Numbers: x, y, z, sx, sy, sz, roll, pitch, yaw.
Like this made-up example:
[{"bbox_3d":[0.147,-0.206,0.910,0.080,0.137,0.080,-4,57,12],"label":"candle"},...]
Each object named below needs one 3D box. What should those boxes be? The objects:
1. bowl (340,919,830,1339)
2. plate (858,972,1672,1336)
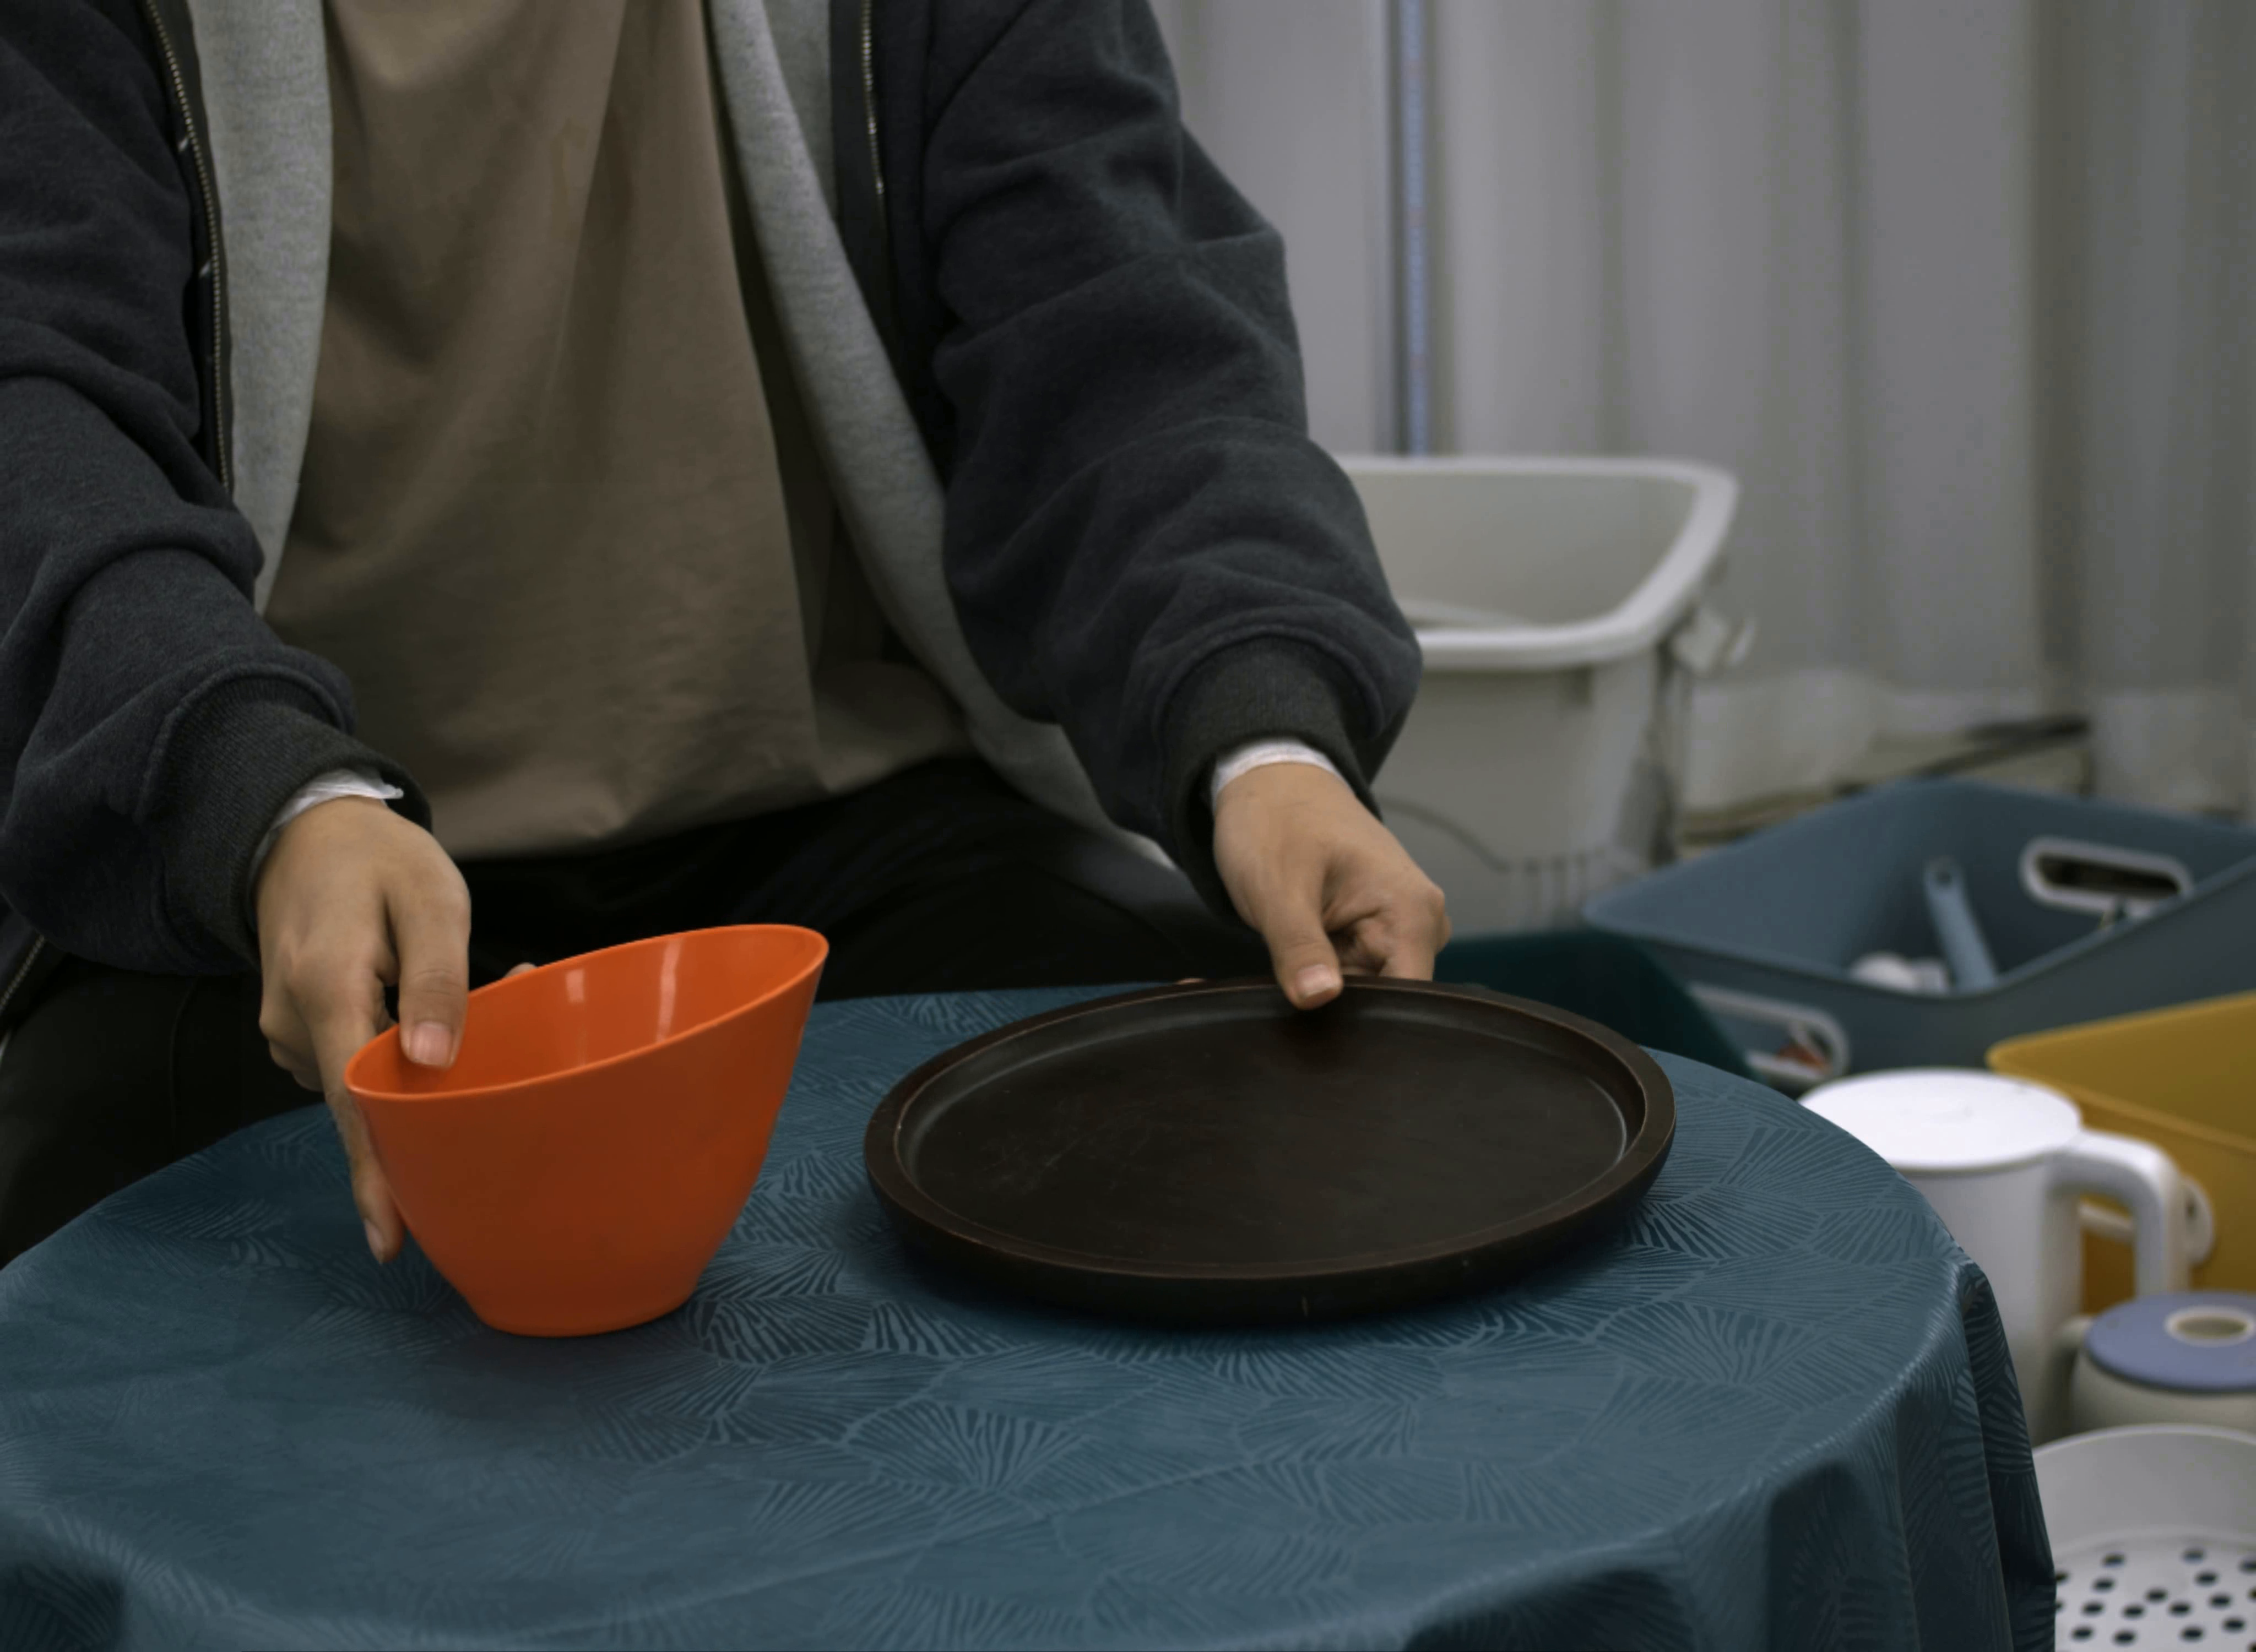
[{"bbox_3d":[-0.157,0.093,1.626,0.147,0.104,0.149,-4,18,1],"label":"bowl"},{"bbox_3d":[0.043,0.099,1.696,0.254,0.029,0.257,-5,19,1],"label":"plate"}]
